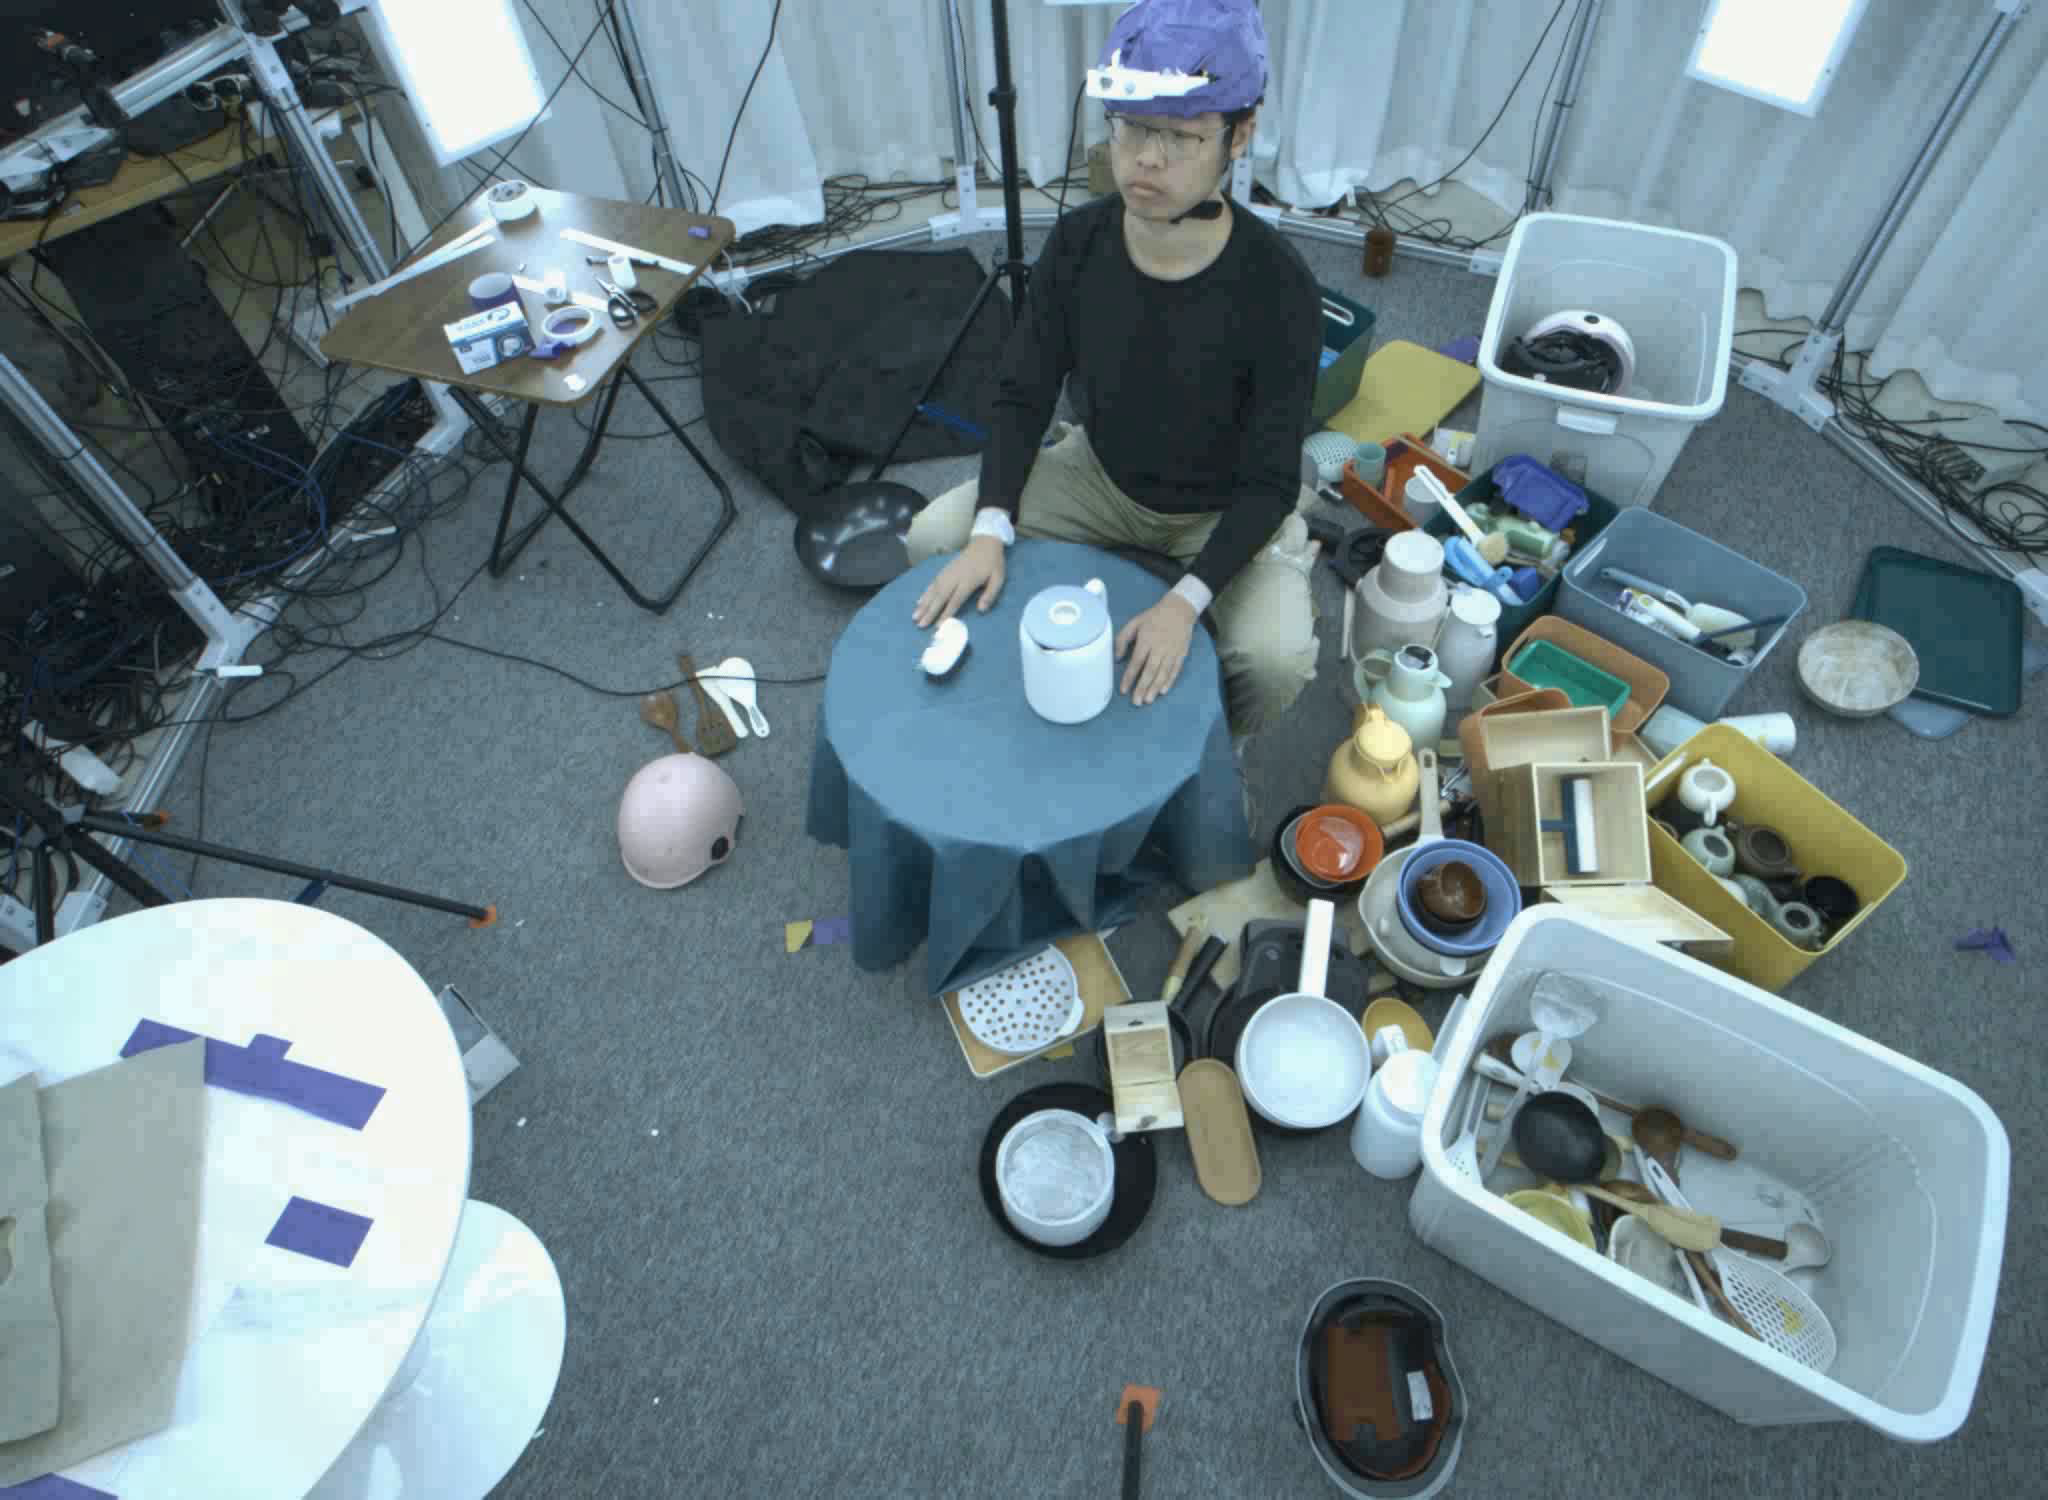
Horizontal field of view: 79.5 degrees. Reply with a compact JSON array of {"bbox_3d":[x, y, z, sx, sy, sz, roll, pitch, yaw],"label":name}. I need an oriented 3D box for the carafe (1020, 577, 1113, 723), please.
[{"bbox_3d":[0.073,-0.156,1.790,0.130,0.184,0.191,20,57,17],"label":"carafe"}]

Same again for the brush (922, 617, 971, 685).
[{"bbox_3d":[-0.120,-0.158,1.858,0.049,0.073,0.099,21,58,17],"label":"brush"}]
